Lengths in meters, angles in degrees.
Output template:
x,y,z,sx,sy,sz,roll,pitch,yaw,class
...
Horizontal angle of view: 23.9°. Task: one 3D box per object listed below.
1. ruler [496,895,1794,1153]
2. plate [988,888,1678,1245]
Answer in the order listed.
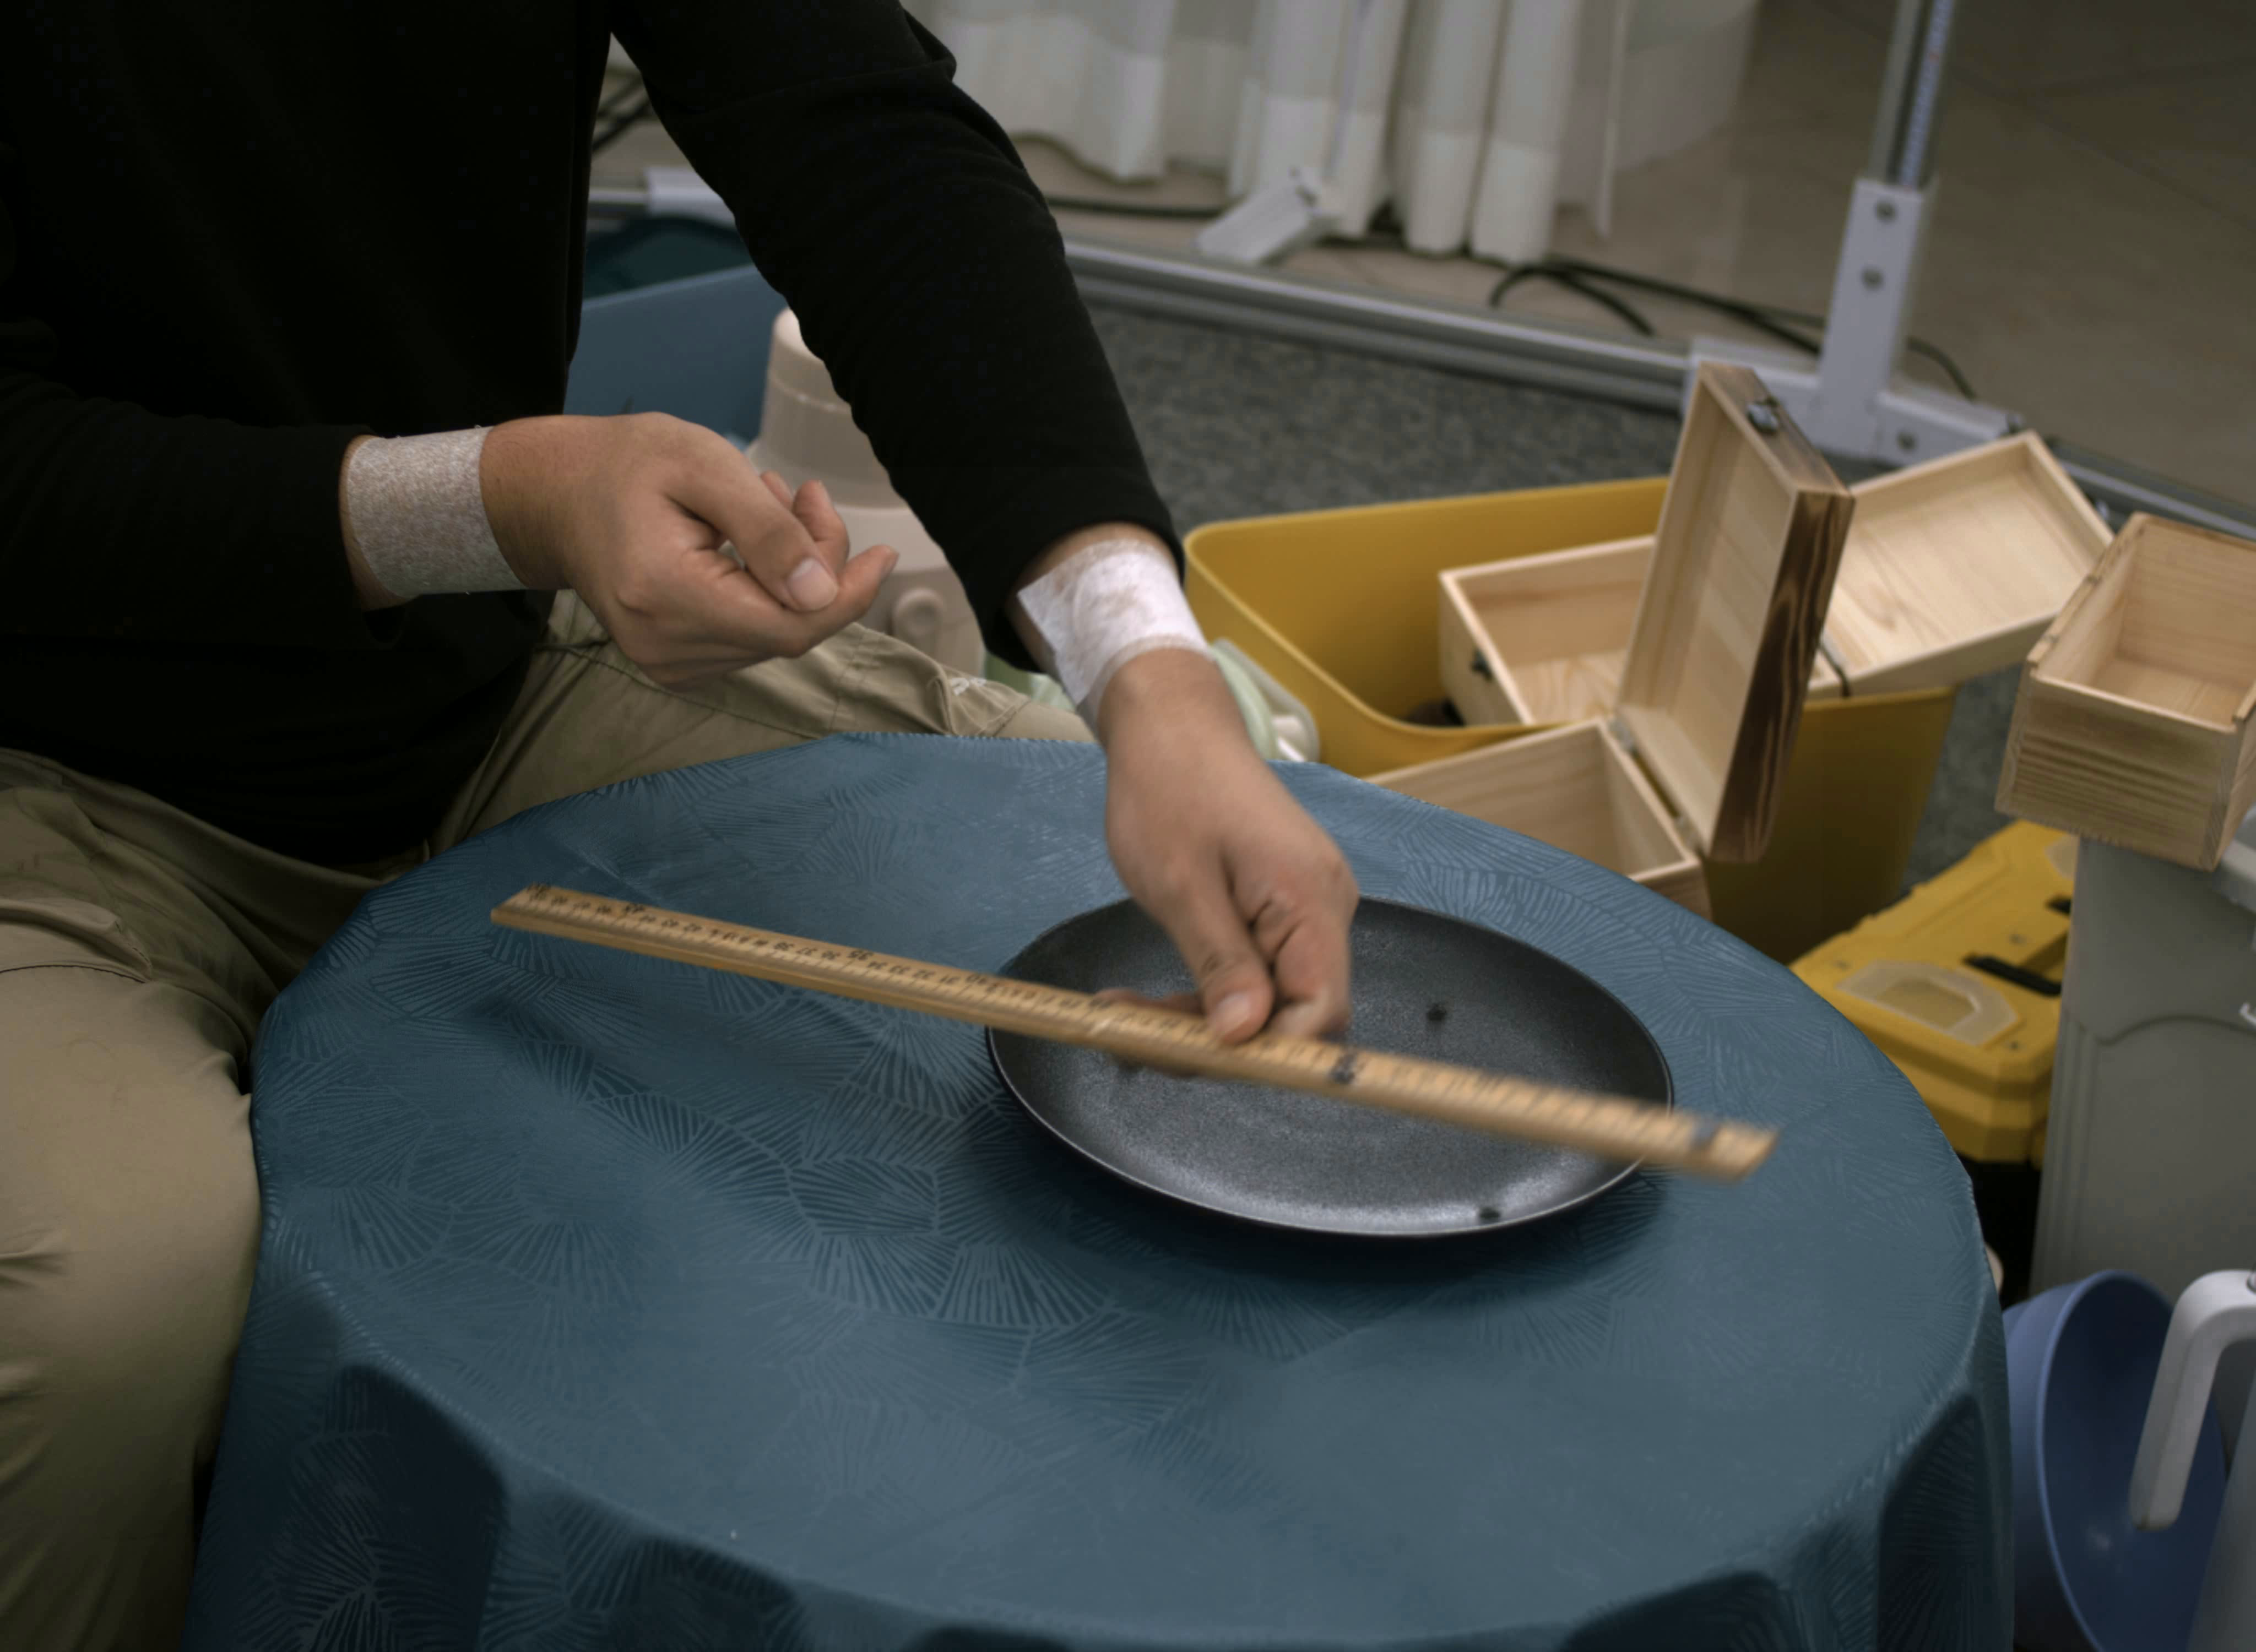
x,y,z,sx,sy,sz,roll,pitch,yaw,class
-0.010,0.060,1.727,0.503,0.006,0.027,8,27,35,ruler
0.071,0.087,1.863,0.243,0.023,0.246,5,27,-3,plate
